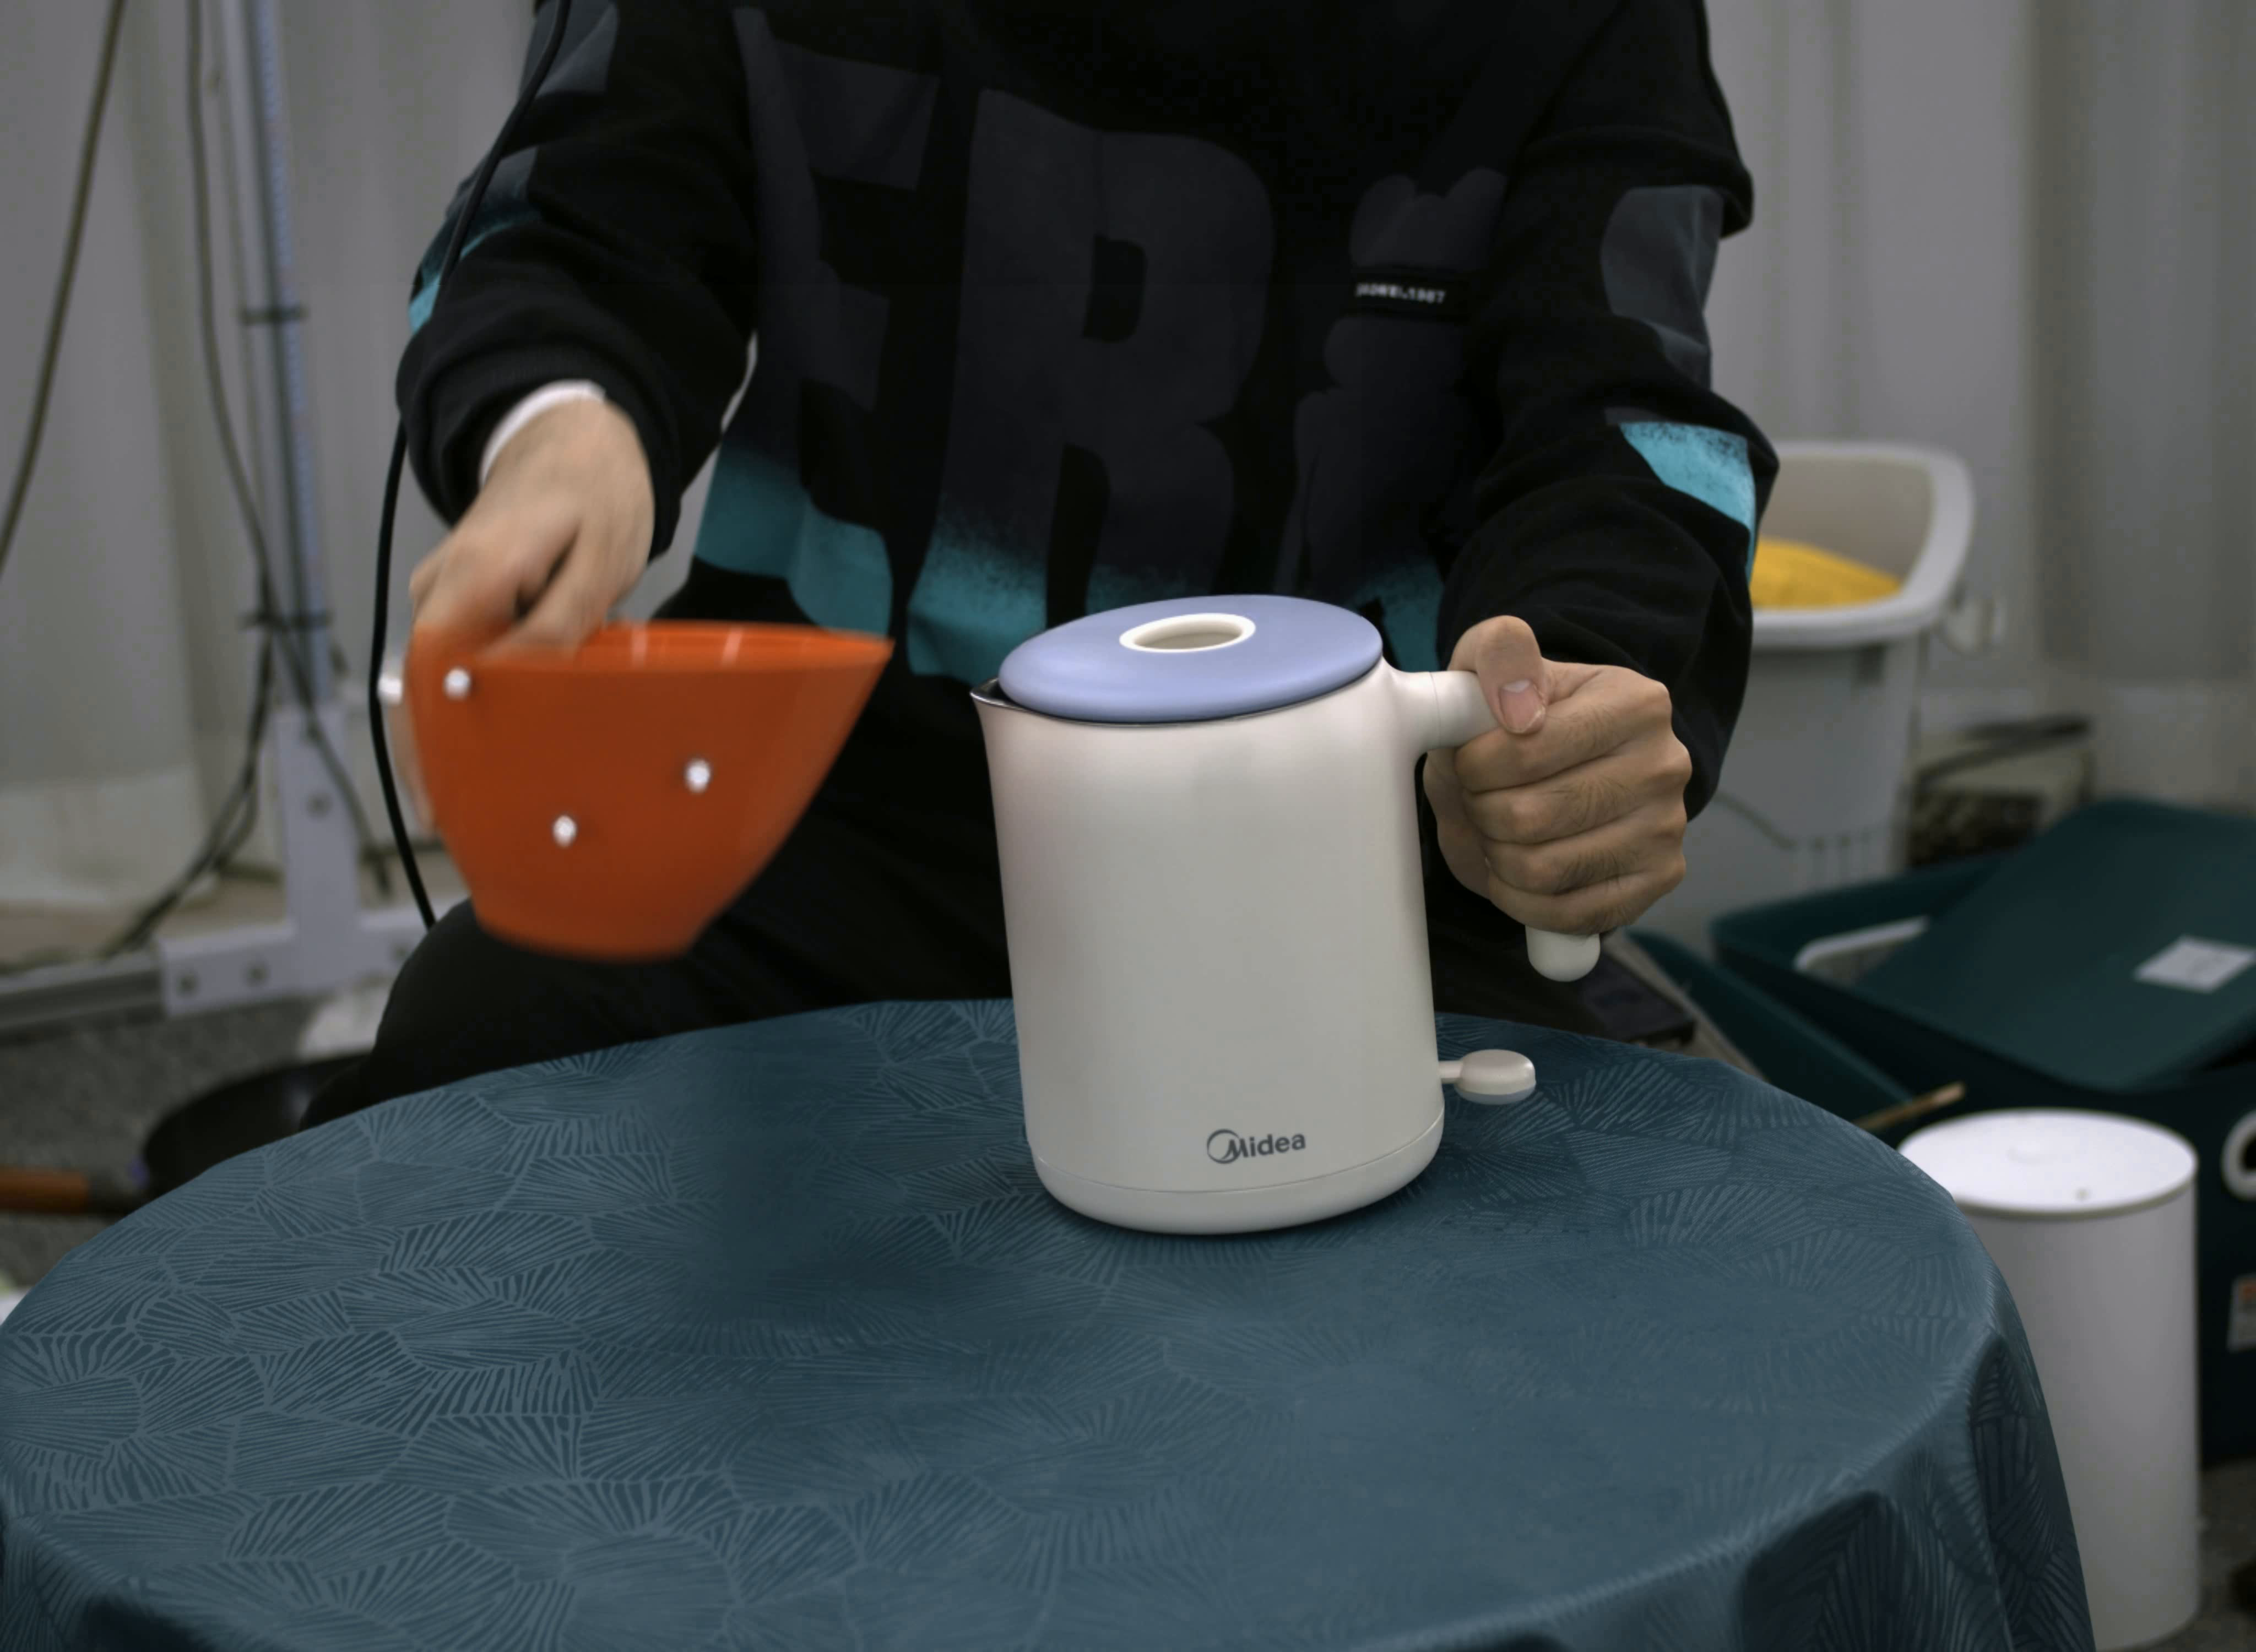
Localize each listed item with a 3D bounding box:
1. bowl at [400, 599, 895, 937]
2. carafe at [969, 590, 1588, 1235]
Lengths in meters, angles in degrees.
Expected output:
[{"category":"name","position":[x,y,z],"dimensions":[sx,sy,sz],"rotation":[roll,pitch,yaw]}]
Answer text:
[{"category":"bowl","position":[-0.150,-0.022,1.642],"dimensions":[0.147,0.104,0.149],"rotation":[9,11,-2]},{"category":"carafe","position":[0.050,0.023,1.702],"dimensions":[0.190,0.181,0.133],"rotation":[-5,17,-6]}]
